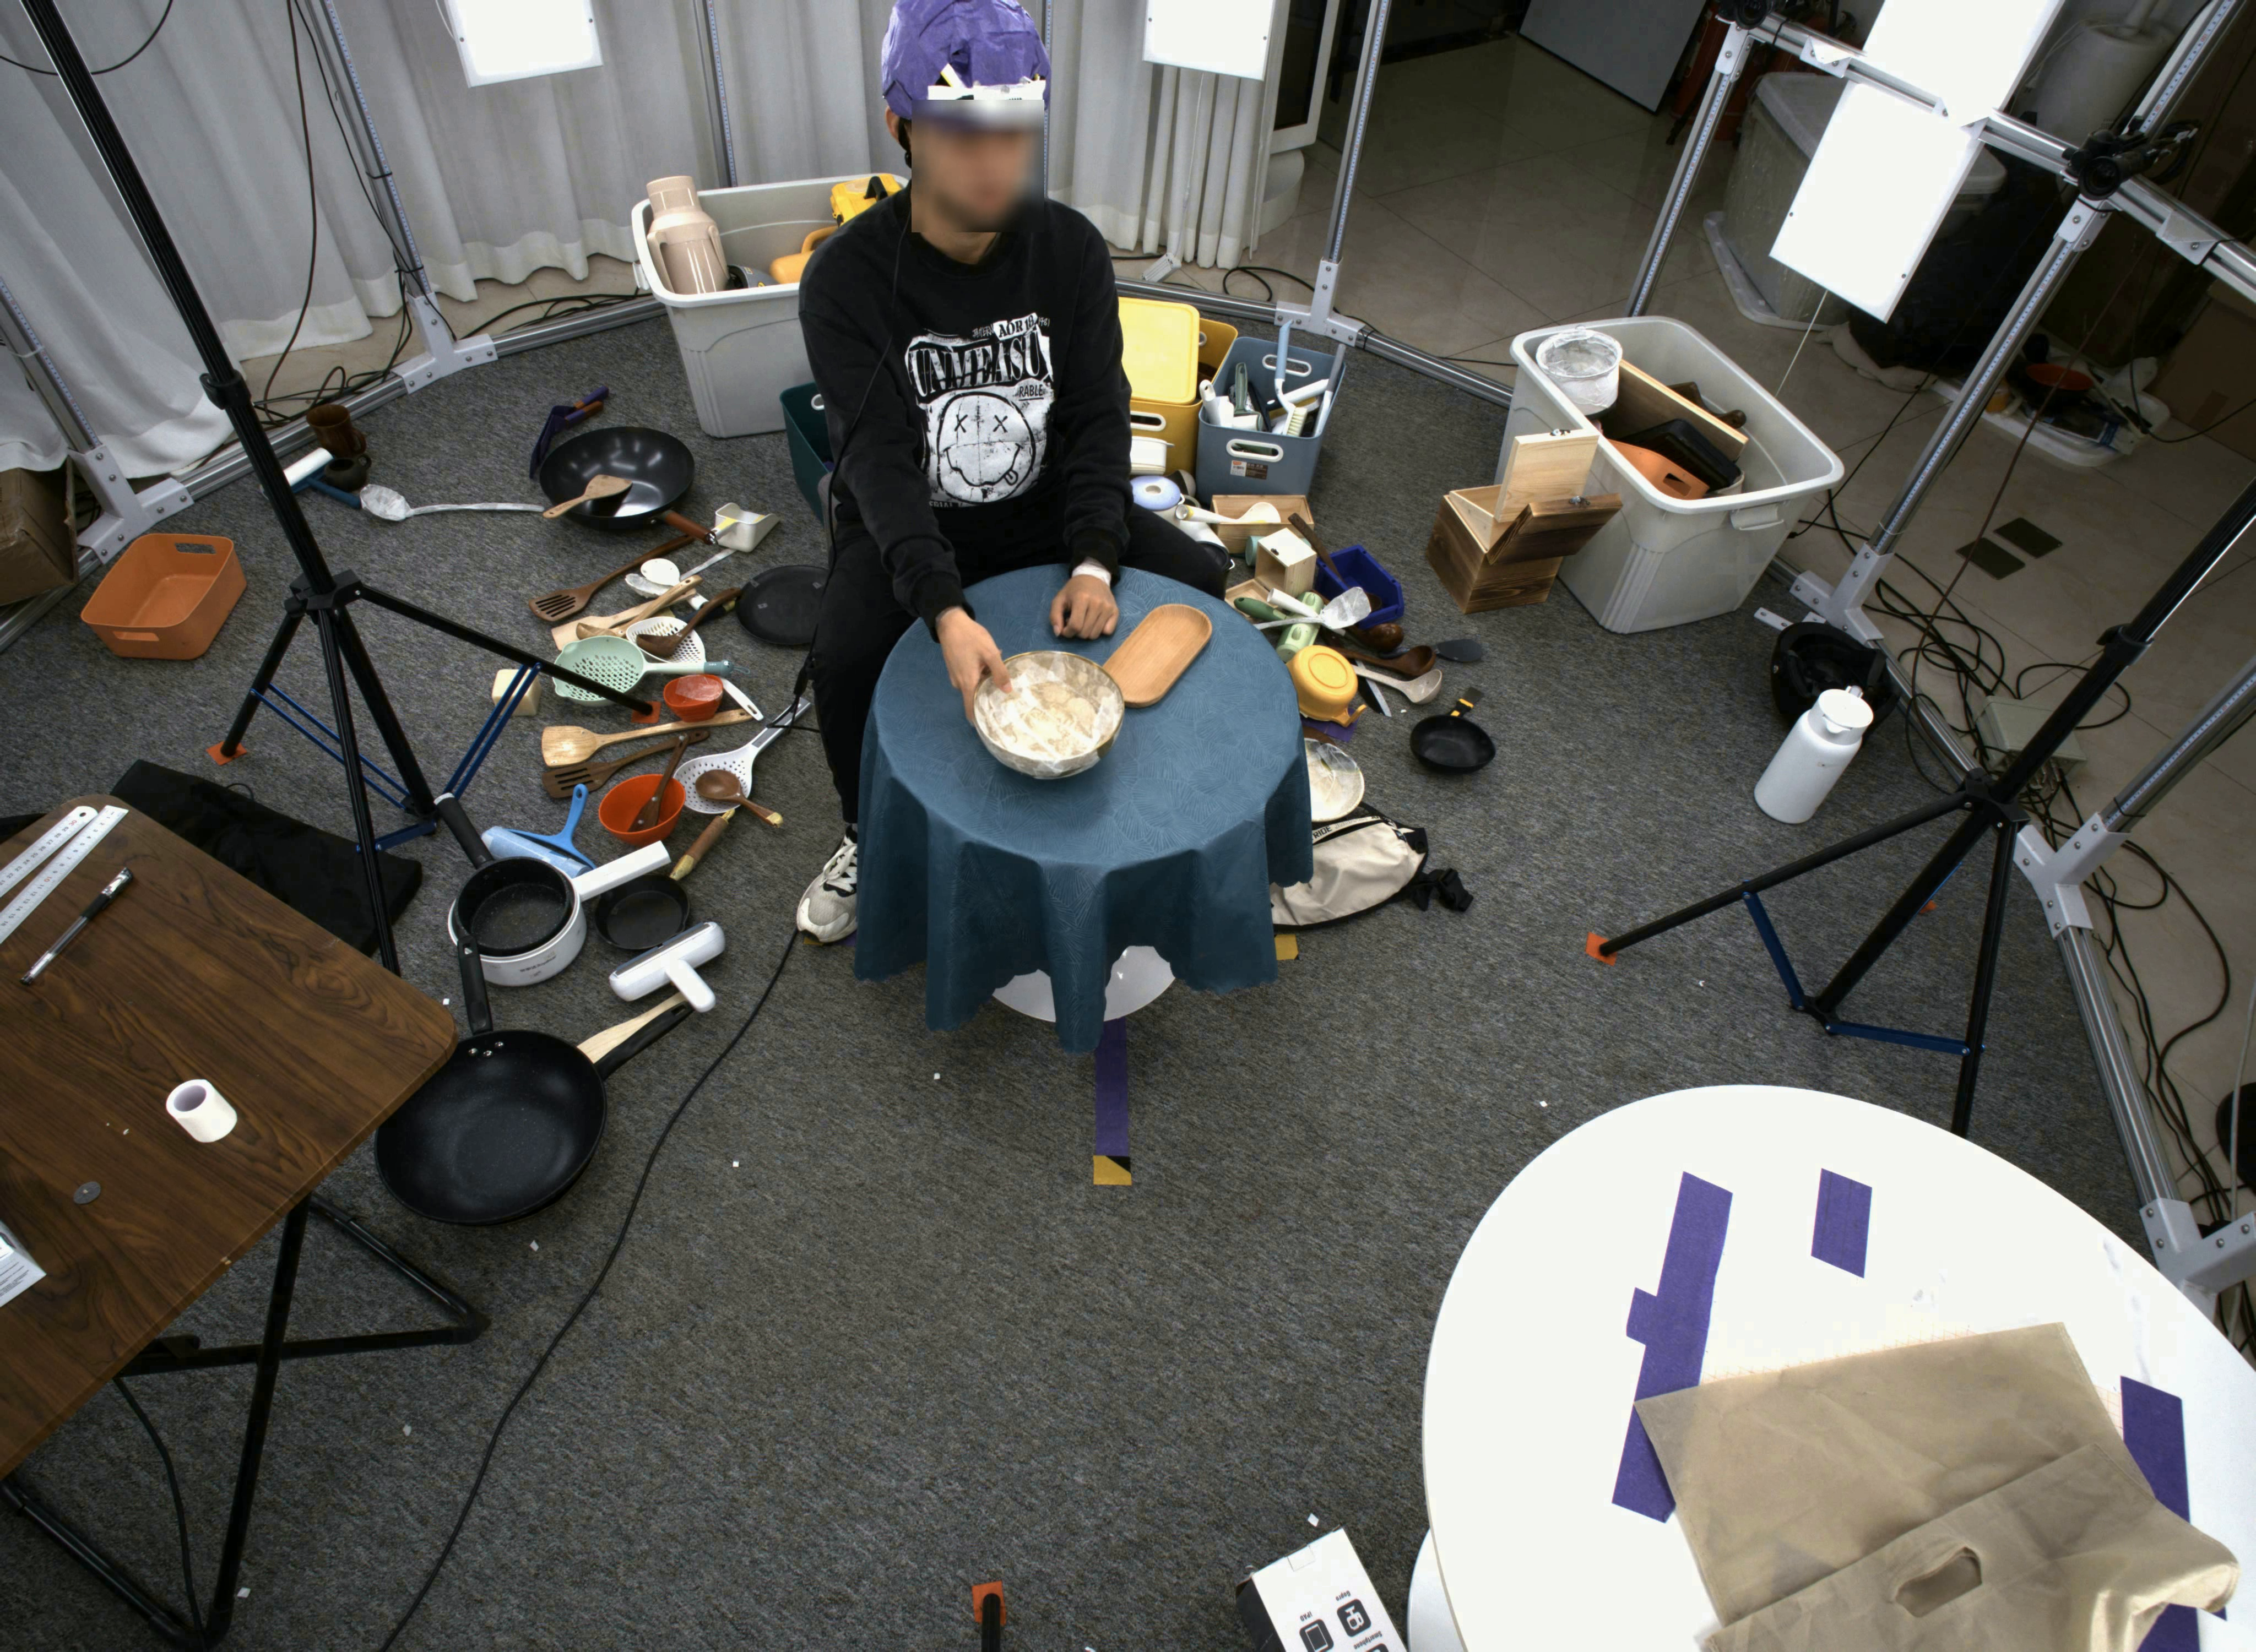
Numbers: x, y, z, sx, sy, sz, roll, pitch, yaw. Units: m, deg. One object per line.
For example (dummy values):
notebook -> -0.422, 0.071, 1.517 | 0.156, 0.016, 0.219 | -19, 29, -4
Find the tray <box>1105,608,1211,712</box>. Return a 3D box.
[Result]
tray -> 0.042, -0.247, 1.893 | 0.102, 0.020, 0.235 | 23, 53, 18

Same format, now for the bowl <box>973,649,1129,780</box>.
bowl -> -0.103, -0.137, 1.735 | 0.214, 0.092, 0.220 | 1, 50, -2
